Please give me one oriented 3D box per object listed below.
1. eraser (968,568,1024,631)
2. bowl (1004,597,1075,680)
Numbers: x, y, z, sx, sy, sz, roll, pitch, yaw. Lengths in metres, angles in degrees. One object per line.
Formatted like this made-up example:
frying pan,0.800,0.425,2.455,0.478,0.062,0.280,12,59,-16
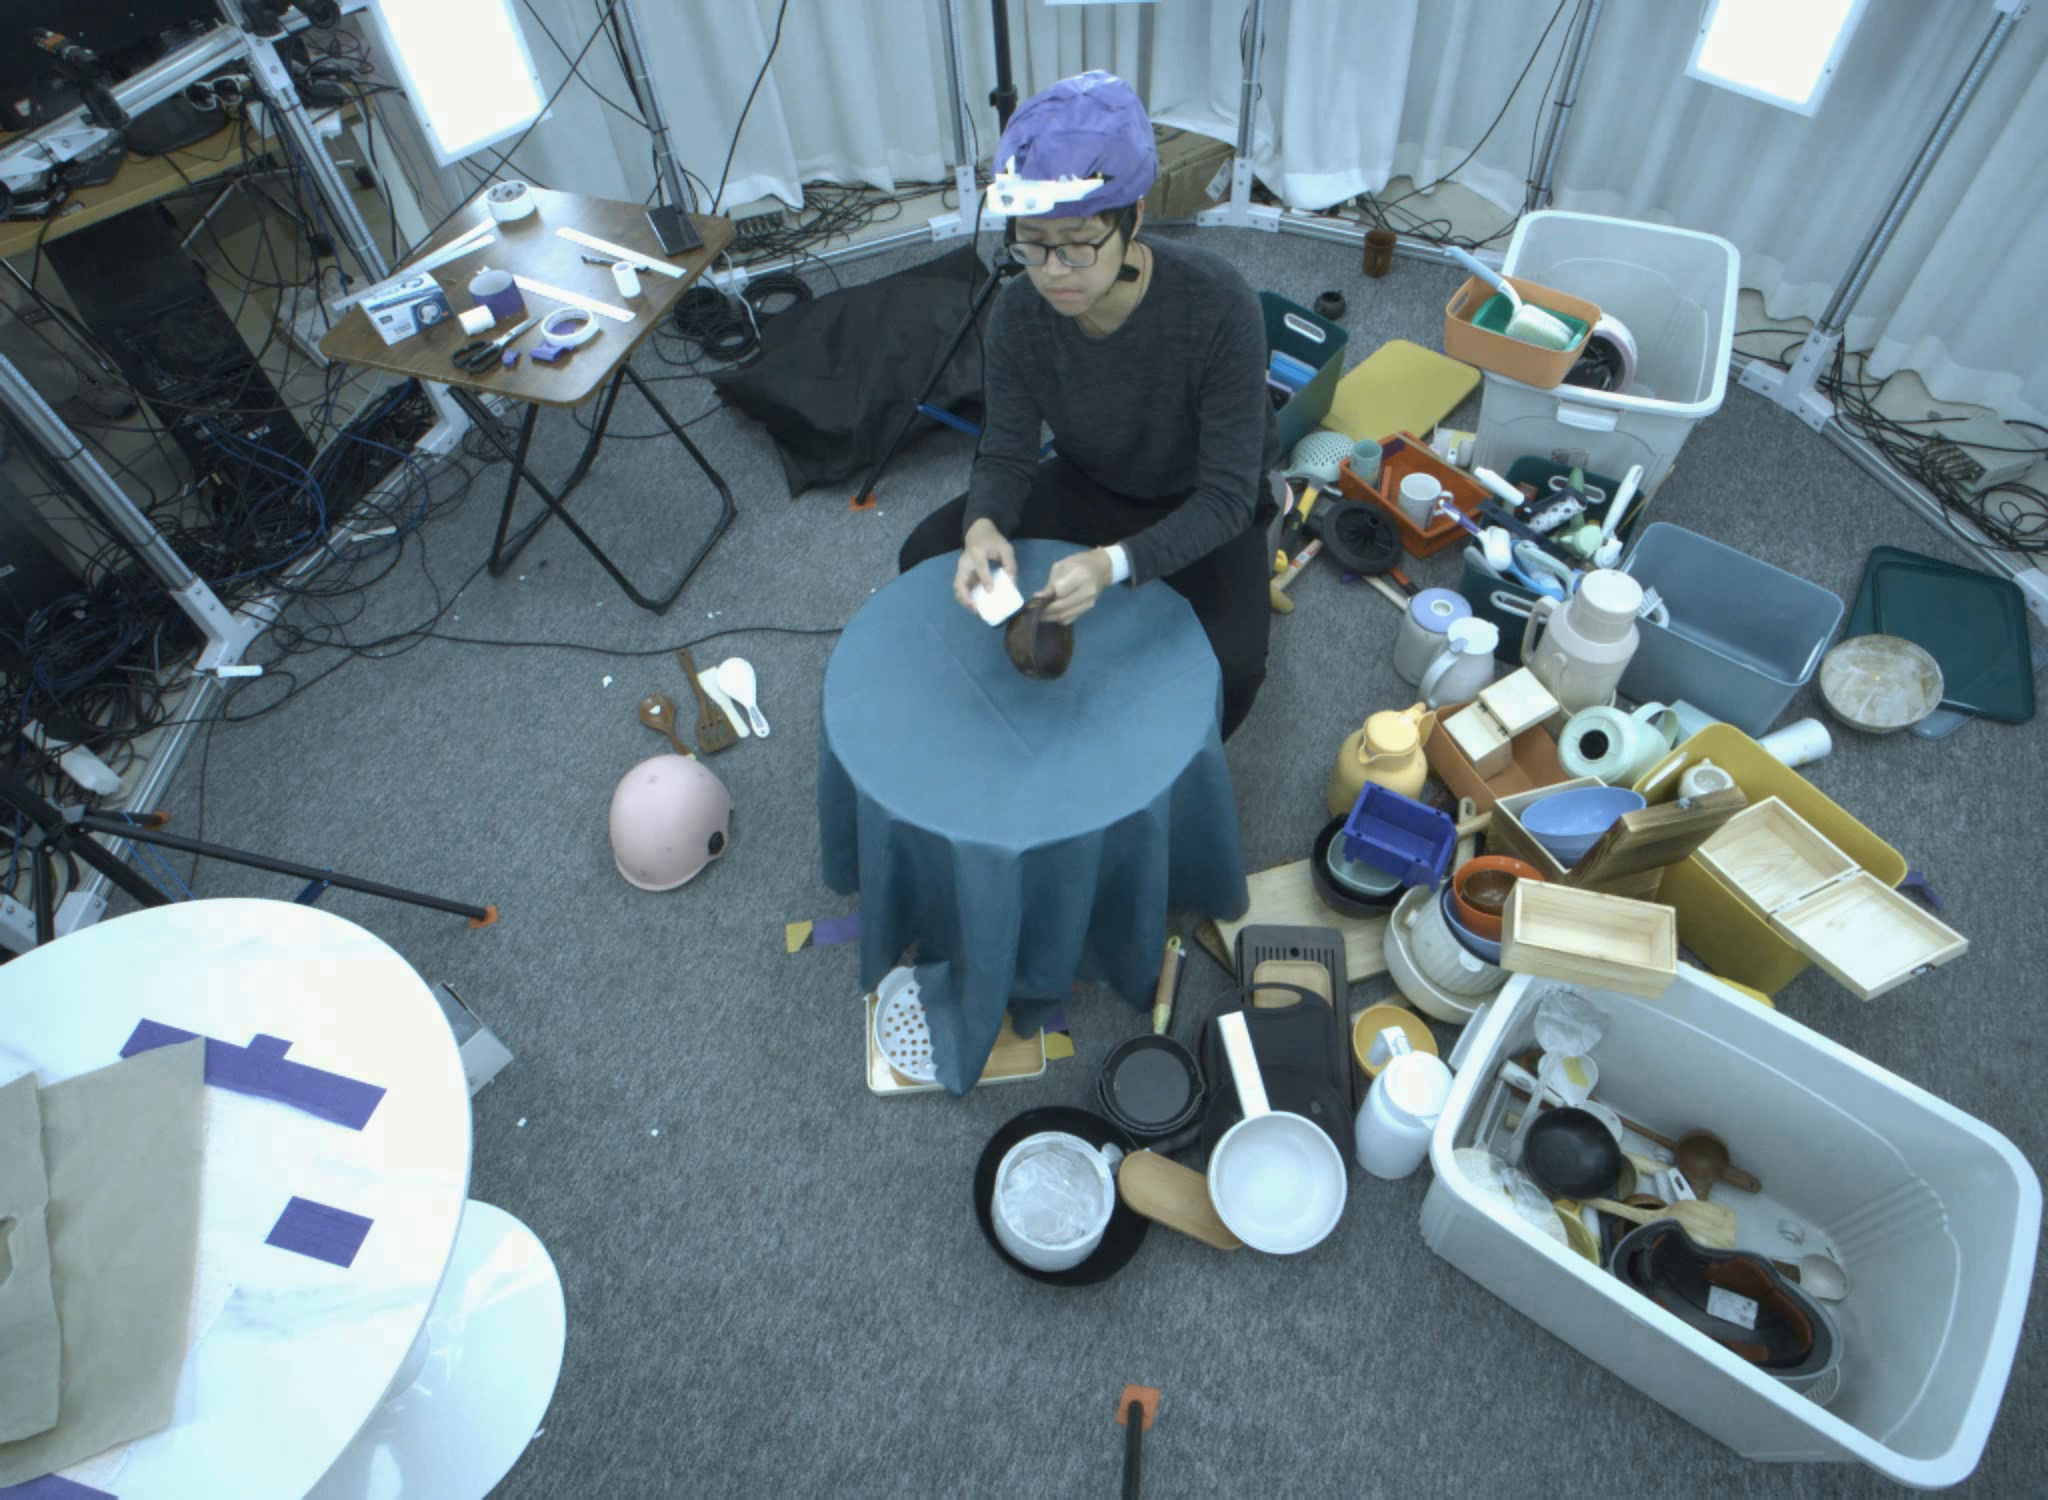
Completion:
eraser,-0.040,-0.219,1.753,0.063,0.035,0.129,-35,32,7
bowl,0.015,-0.159,1.754,0.068,0.120,0.118,3,53,29
